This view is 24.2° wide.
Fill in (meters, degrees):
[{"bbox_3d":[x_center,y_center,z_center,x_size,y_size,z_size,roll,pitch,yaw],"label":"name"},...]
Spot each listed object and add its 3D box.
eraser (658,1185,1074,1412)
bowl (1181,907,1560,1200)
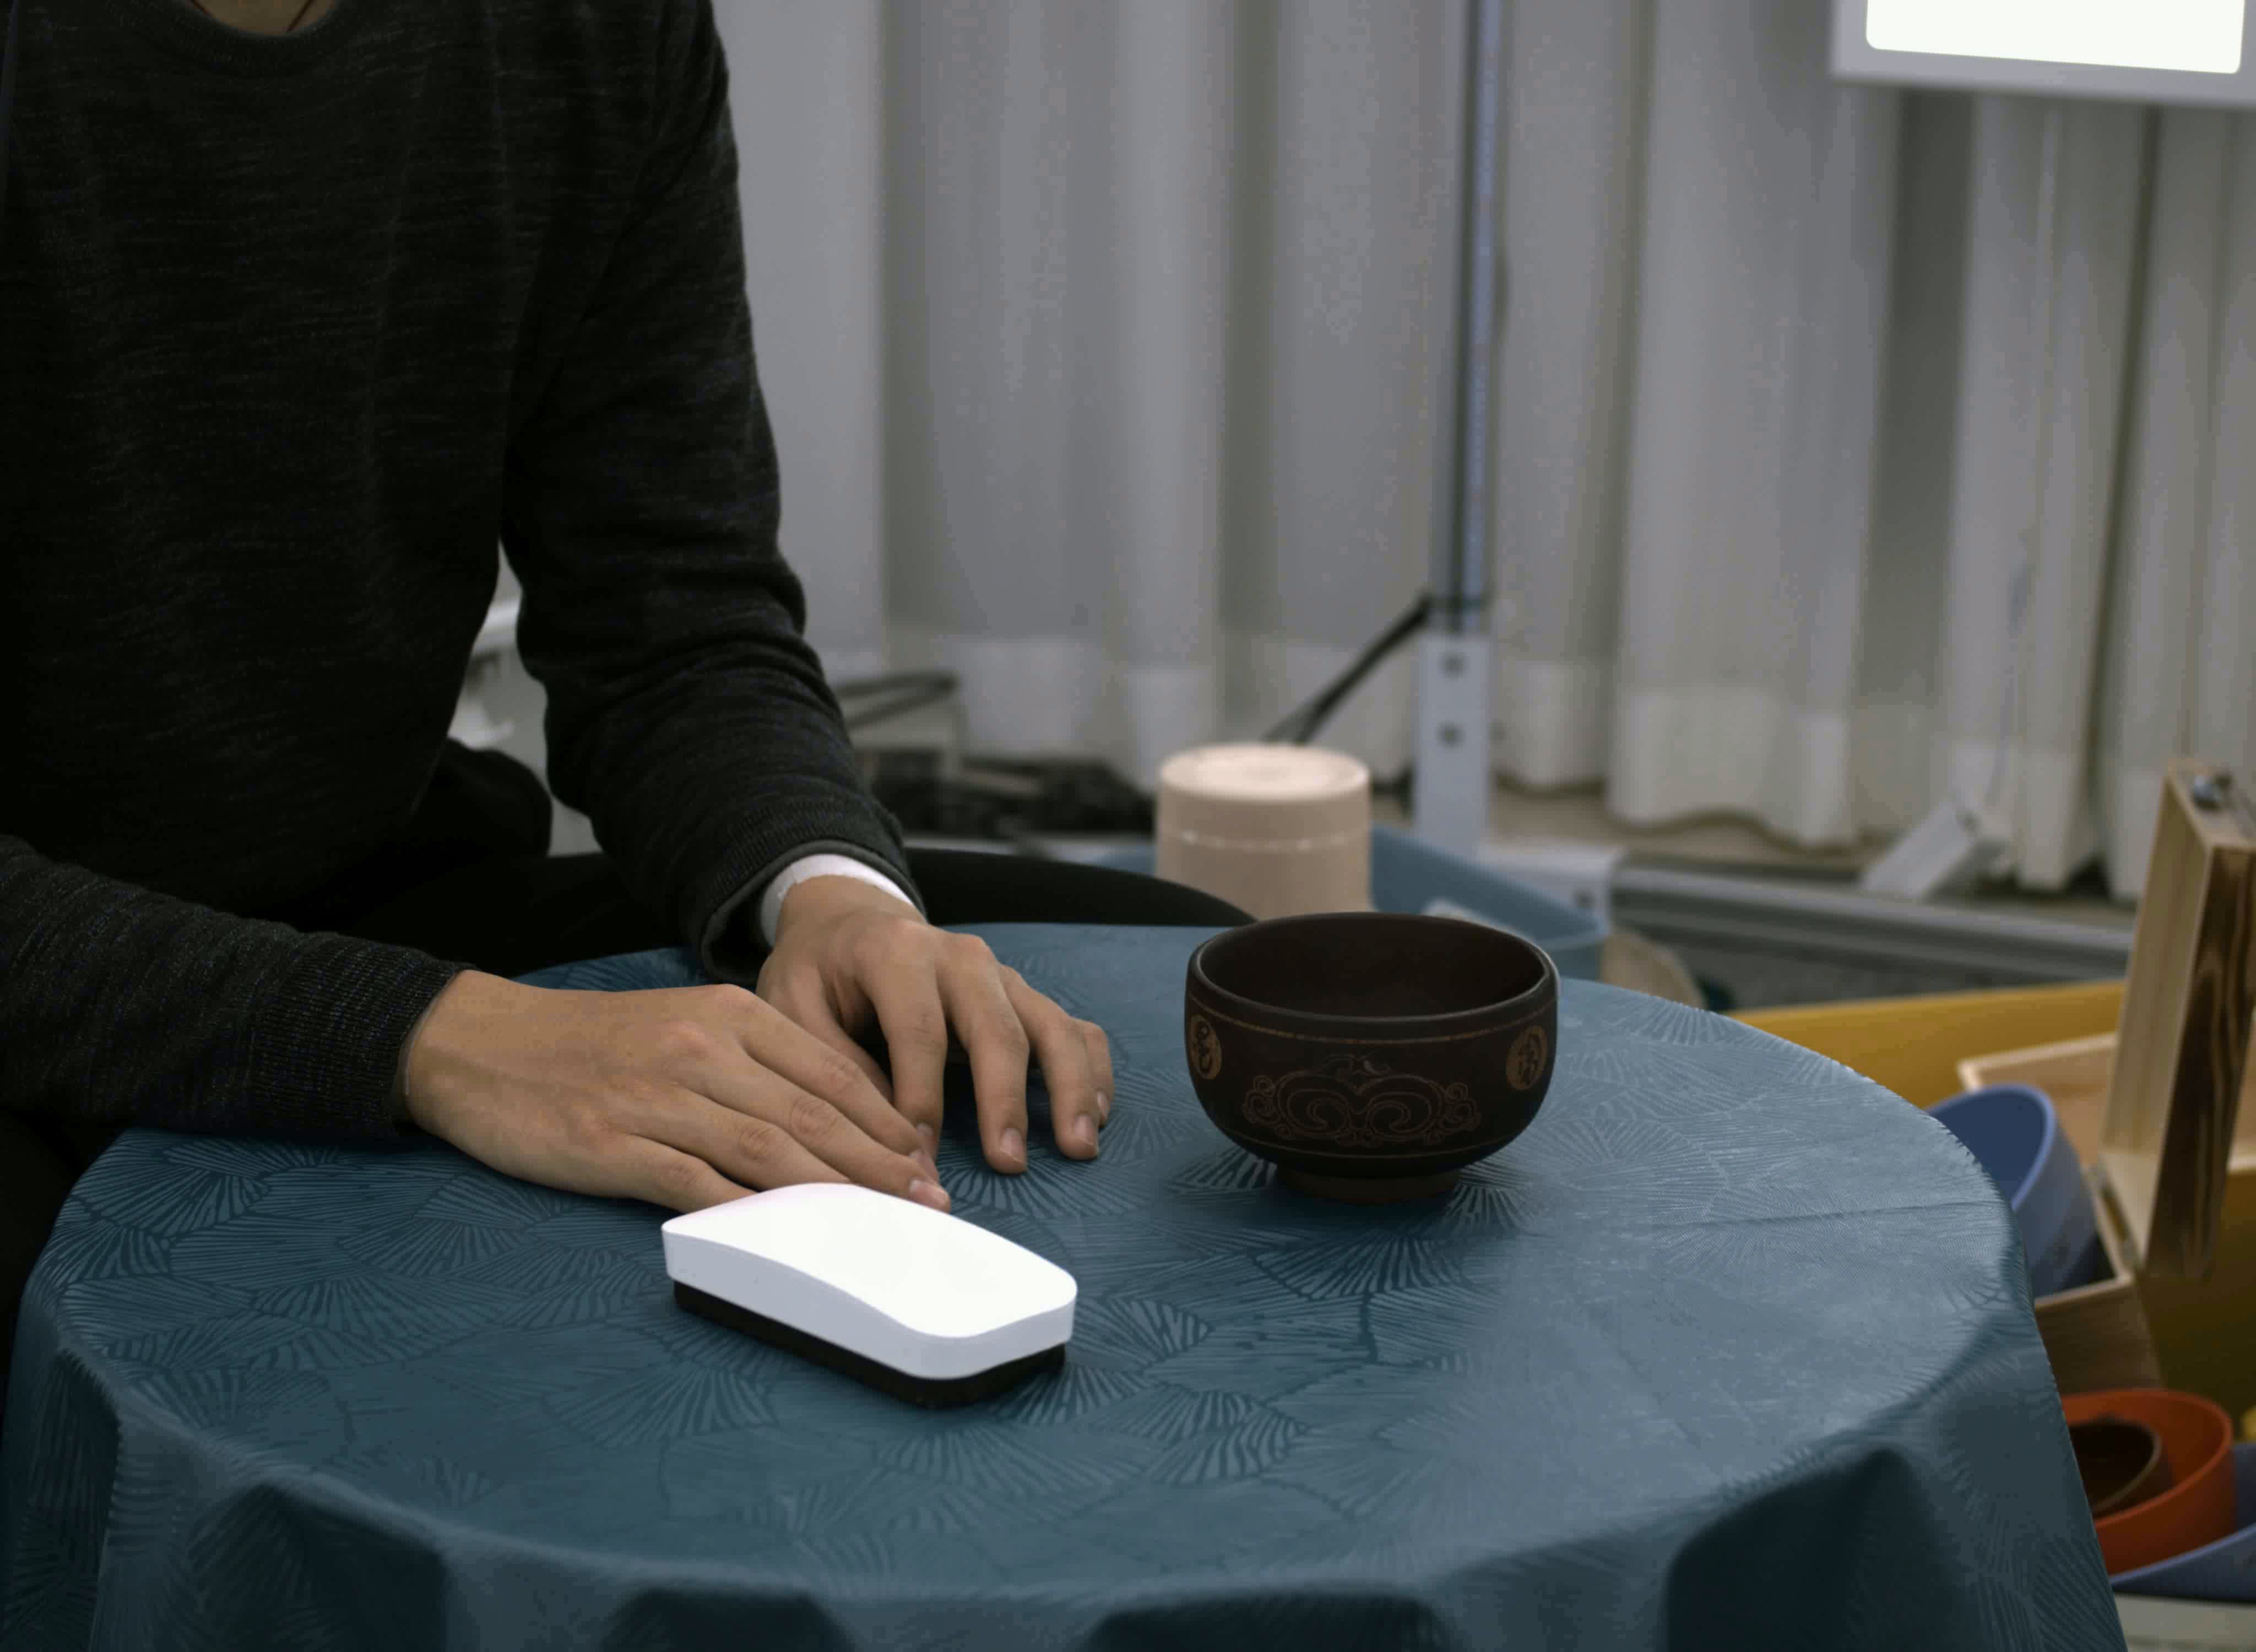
[{"bbox_3d":[-0.074,0.130,1.497,0.064,0.035,0.129,-13,21,-42],"label":"eraser"},{"bbox_3d":[0.075,0.074,1.627,0.117,0.070,0.117,0,16,1],"label":"bowl"}]
